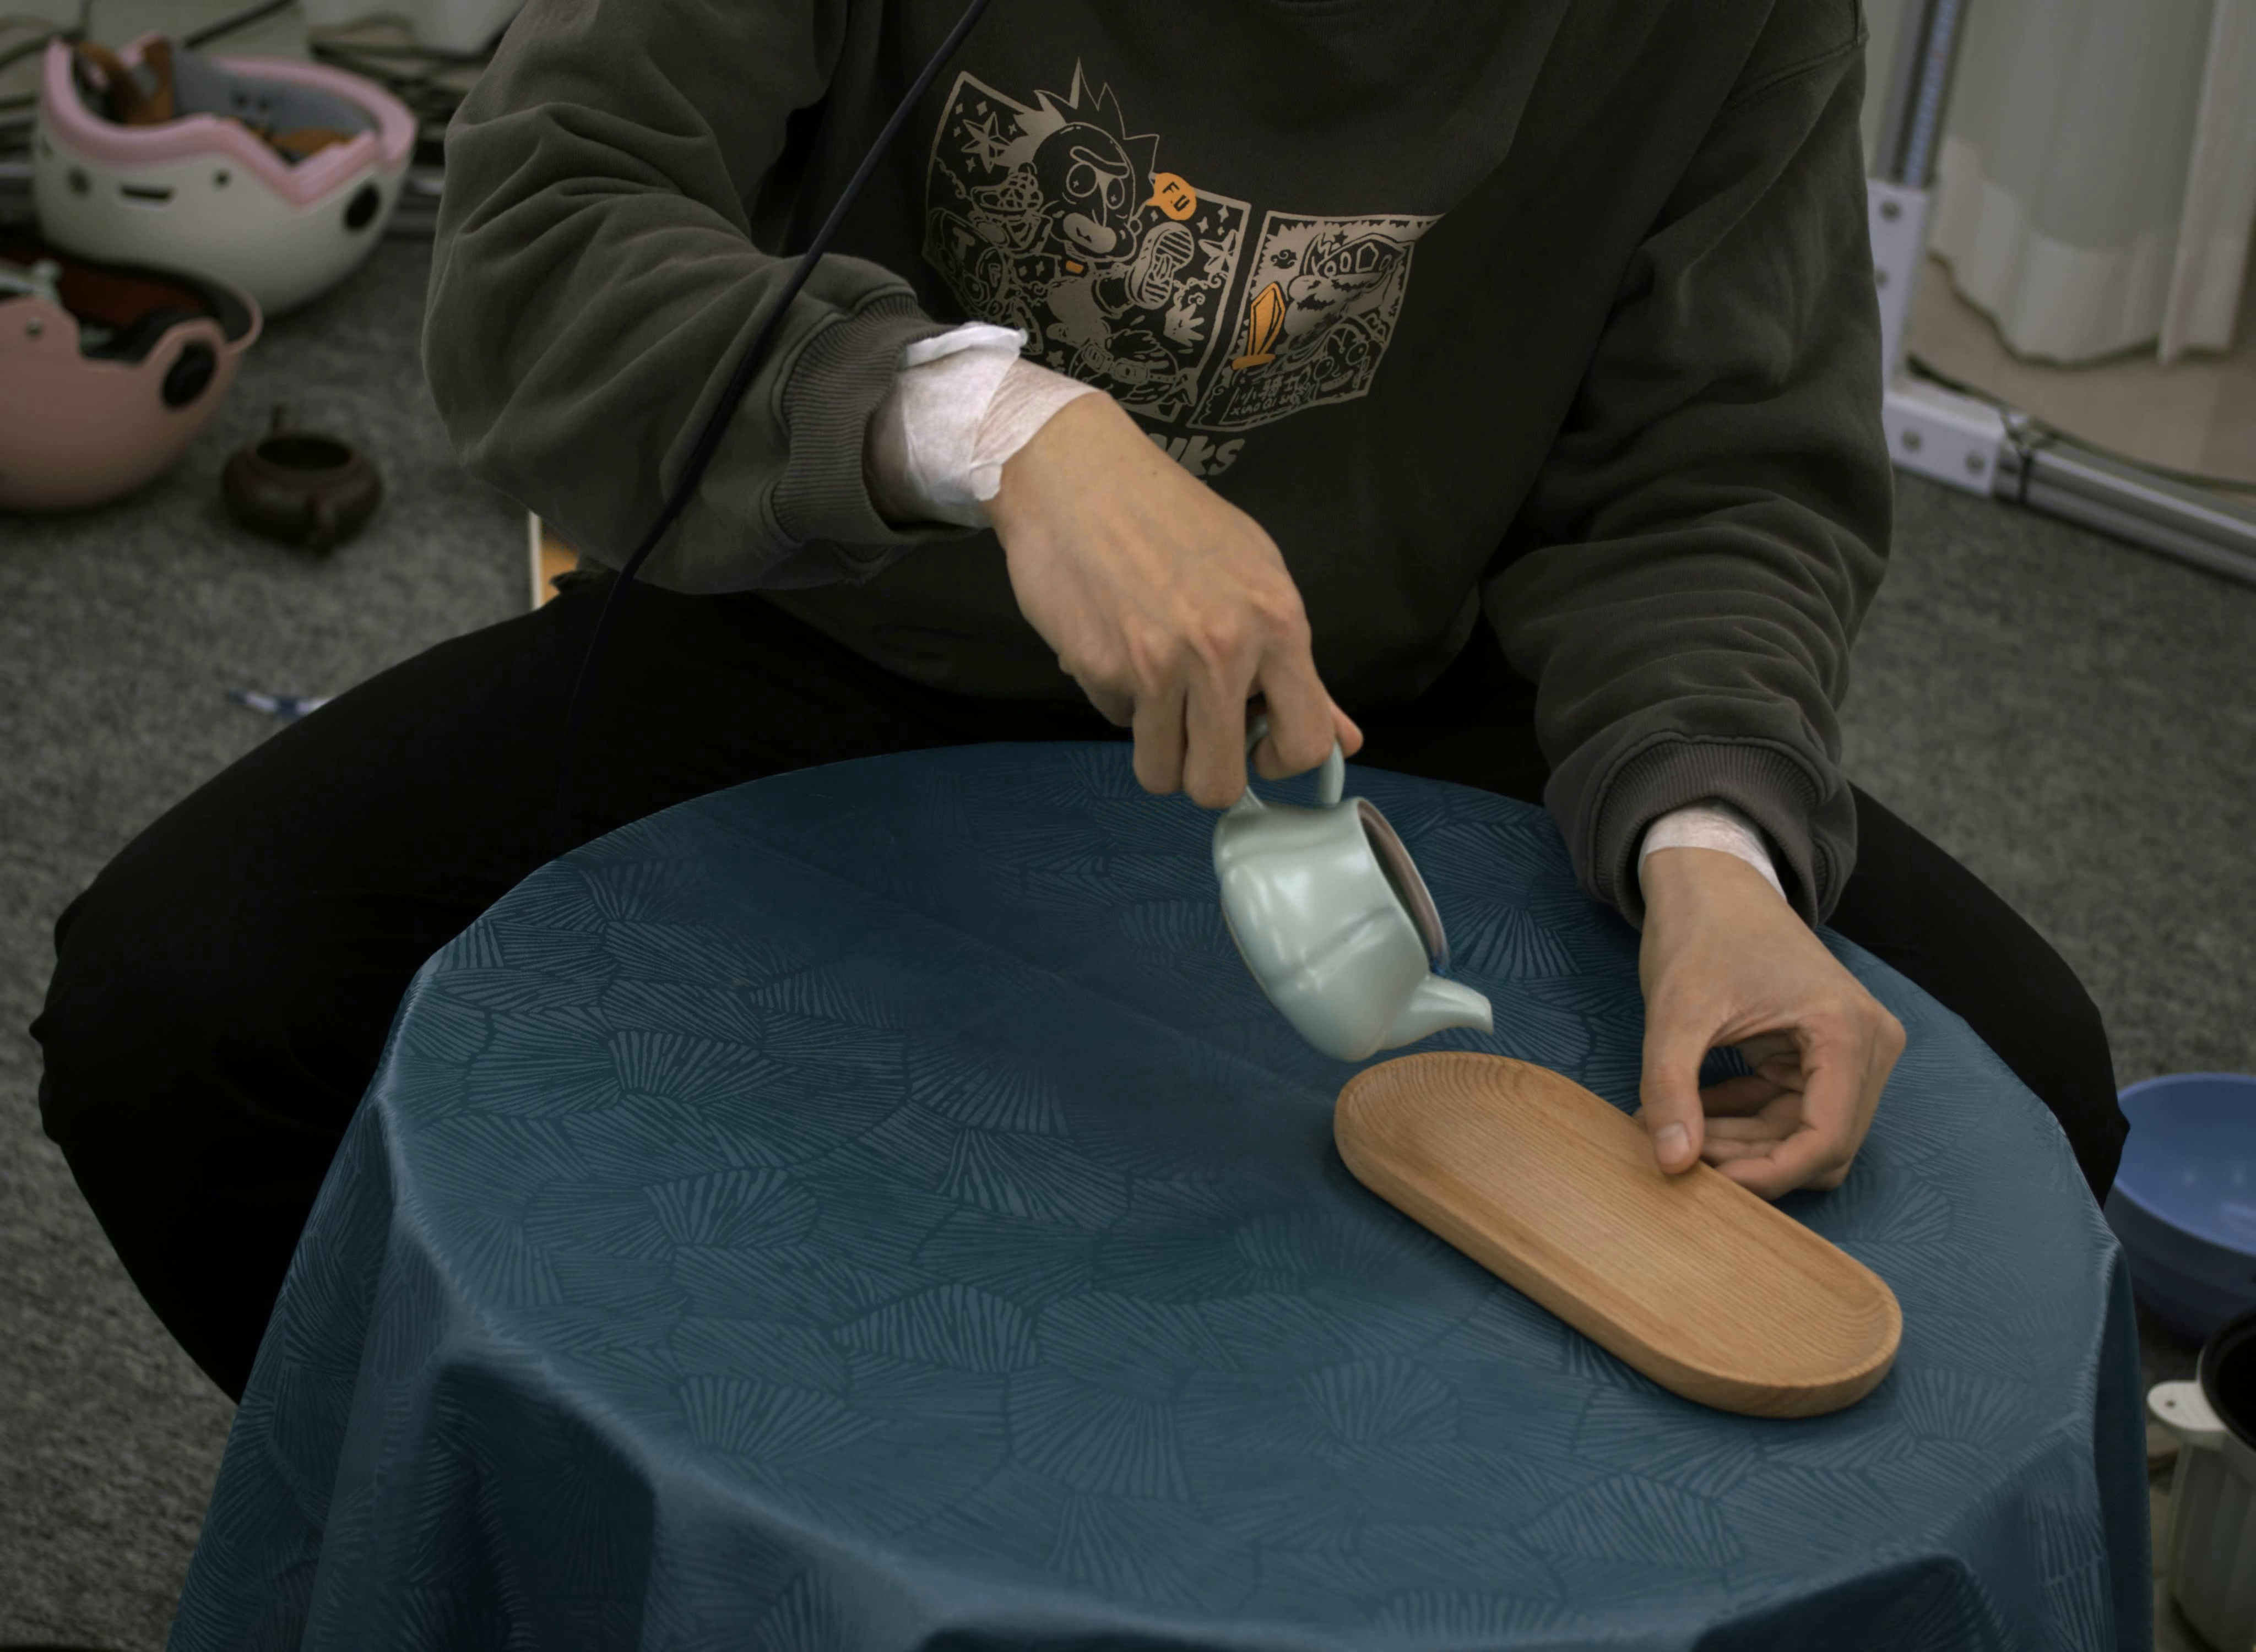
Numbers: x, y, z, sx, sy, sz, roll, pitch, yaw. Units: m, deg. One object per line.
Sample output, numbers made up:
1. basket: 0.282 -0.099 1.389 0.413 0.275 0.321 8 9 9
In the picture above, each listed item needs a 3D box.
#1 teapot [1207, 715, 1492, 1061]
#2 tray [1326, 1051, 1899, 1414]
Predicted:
1. teapot: 0.065 0.026 1.787 0.061 0.136 0.096 -28 18 14
2. tray: 0.161 0.135 1.798 0.101 0.020 0.233 -16 33 -38
